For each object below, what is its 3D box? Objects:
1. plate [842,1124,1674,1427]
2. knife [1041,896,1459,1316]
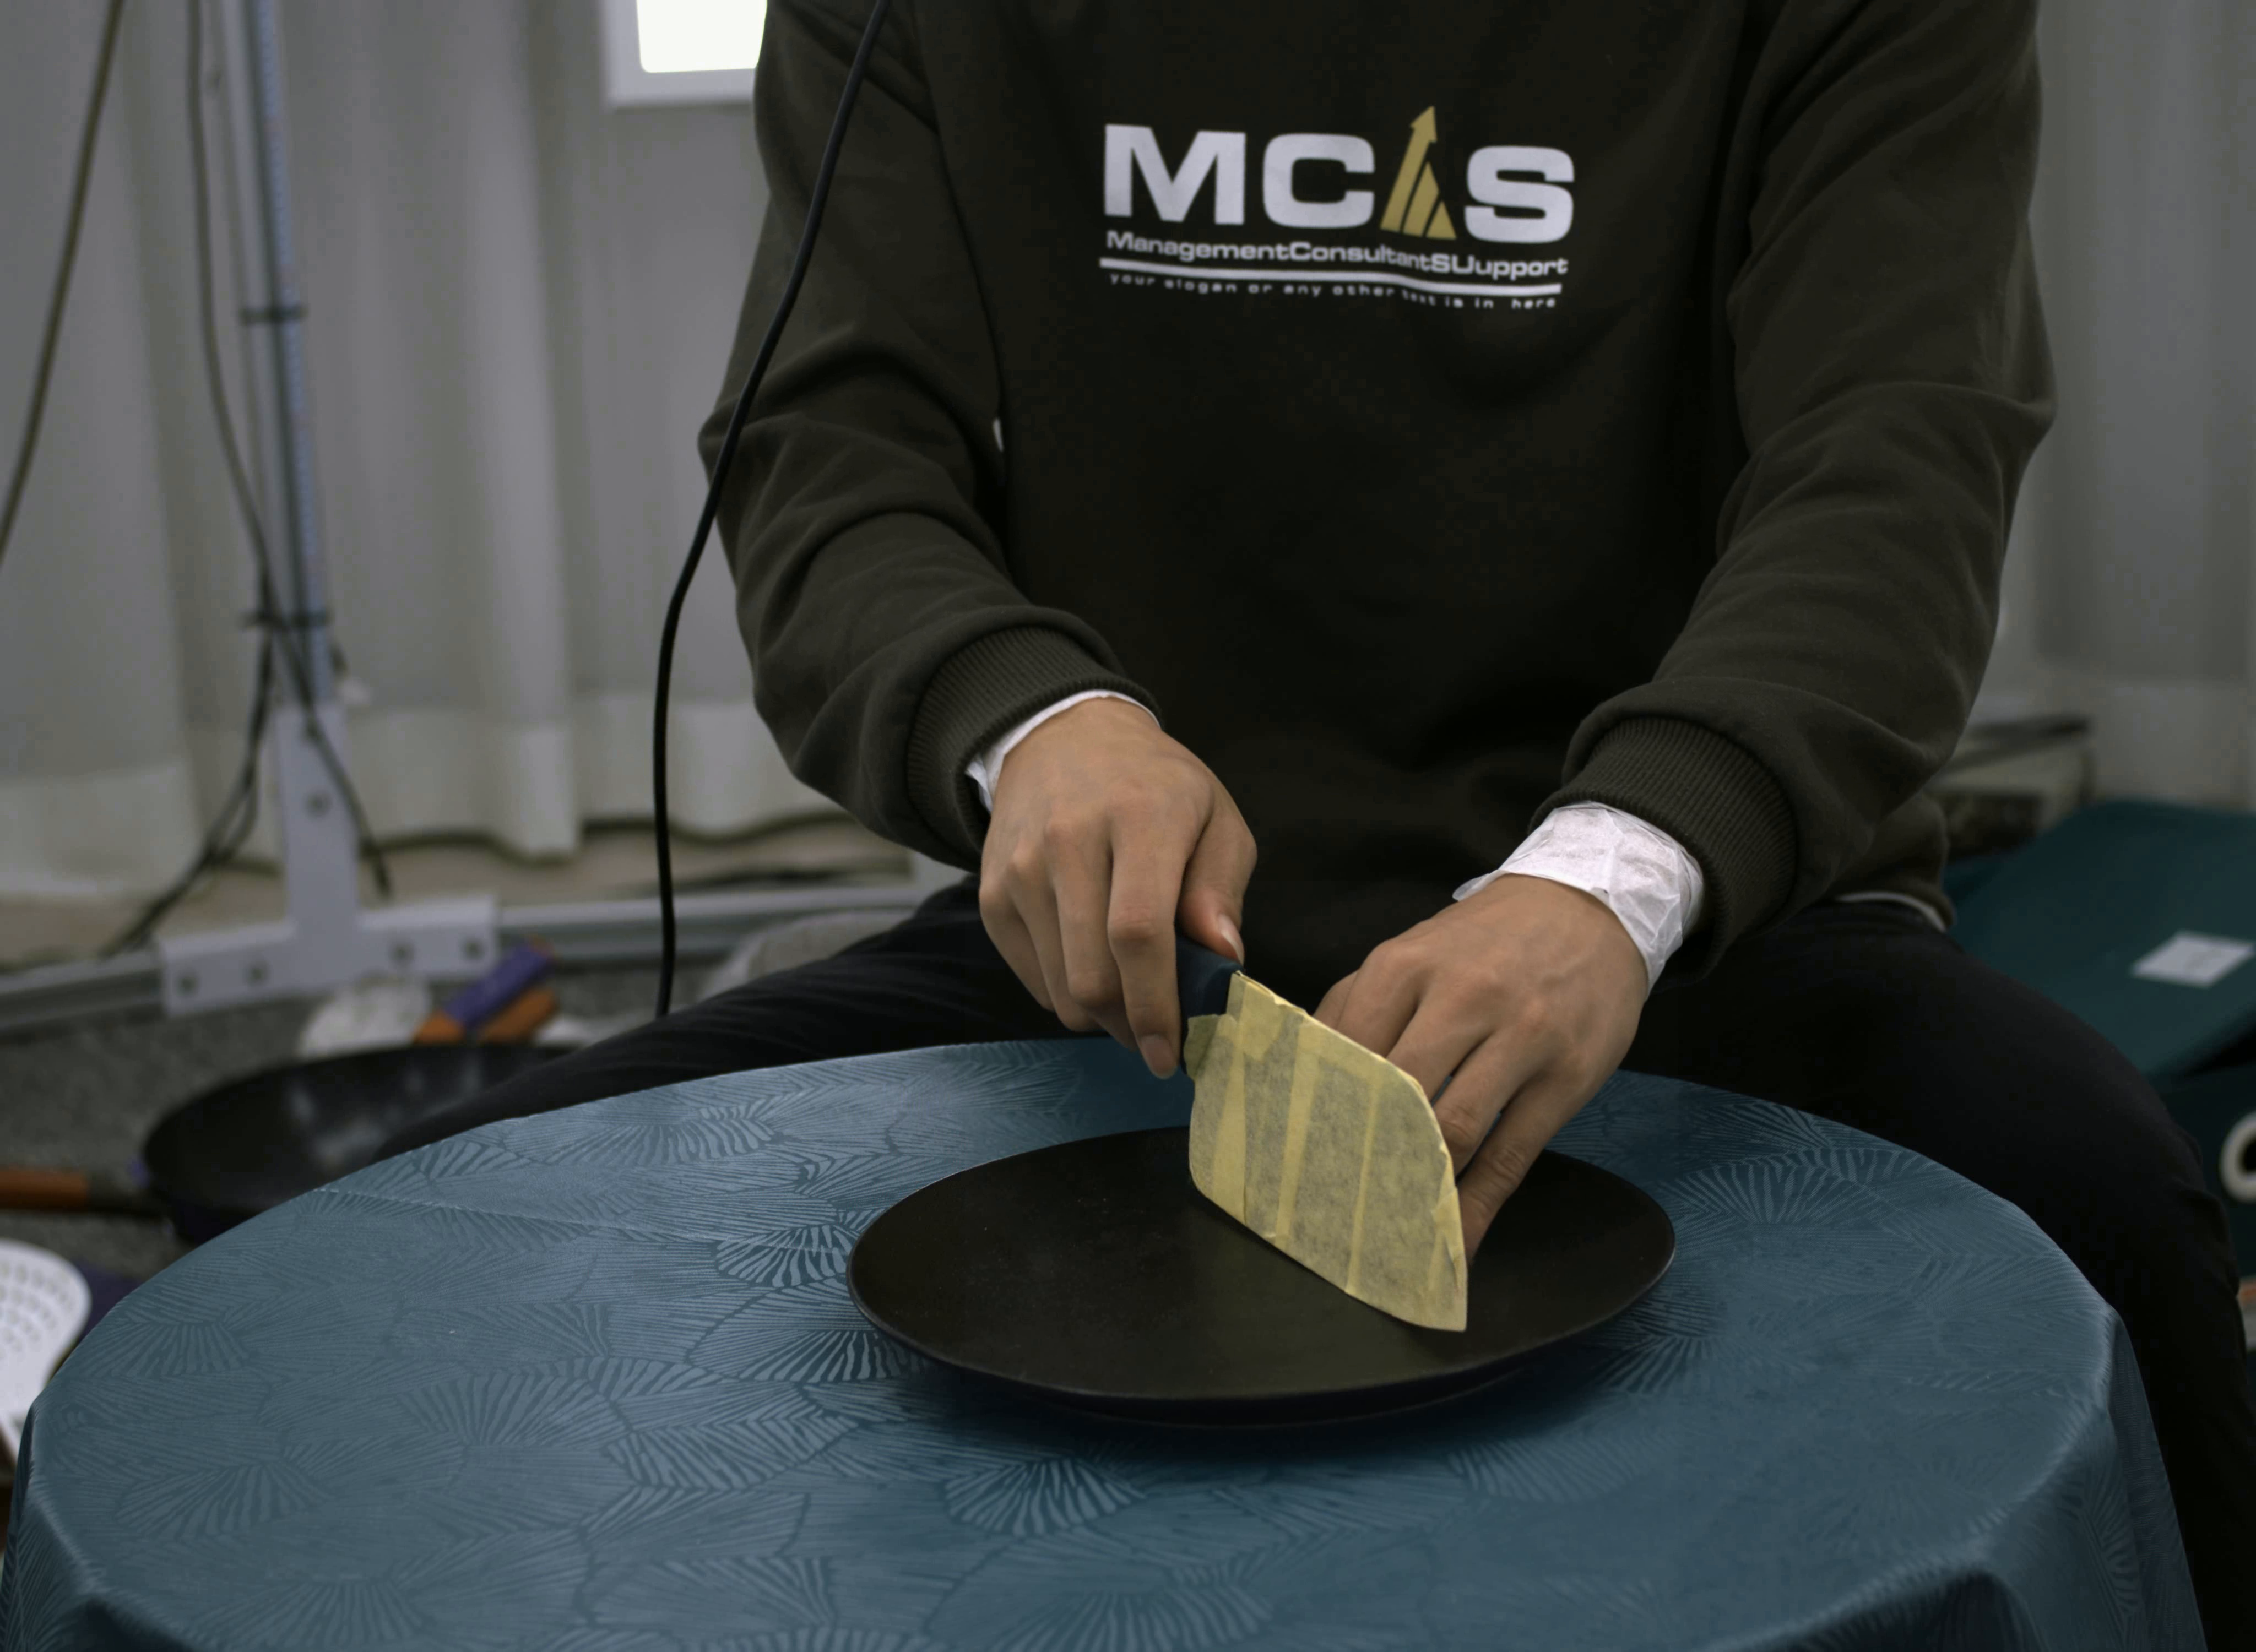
[{"bbox_3d":[0.038,0.133,1.596,0.243,0.023,0.246,-2,15,0],"label":"plate"},{"bbox_3d":[0.035,0.080,1.654,0.027,0.081,0.292,5,15,-25],"label":"knife"}]
